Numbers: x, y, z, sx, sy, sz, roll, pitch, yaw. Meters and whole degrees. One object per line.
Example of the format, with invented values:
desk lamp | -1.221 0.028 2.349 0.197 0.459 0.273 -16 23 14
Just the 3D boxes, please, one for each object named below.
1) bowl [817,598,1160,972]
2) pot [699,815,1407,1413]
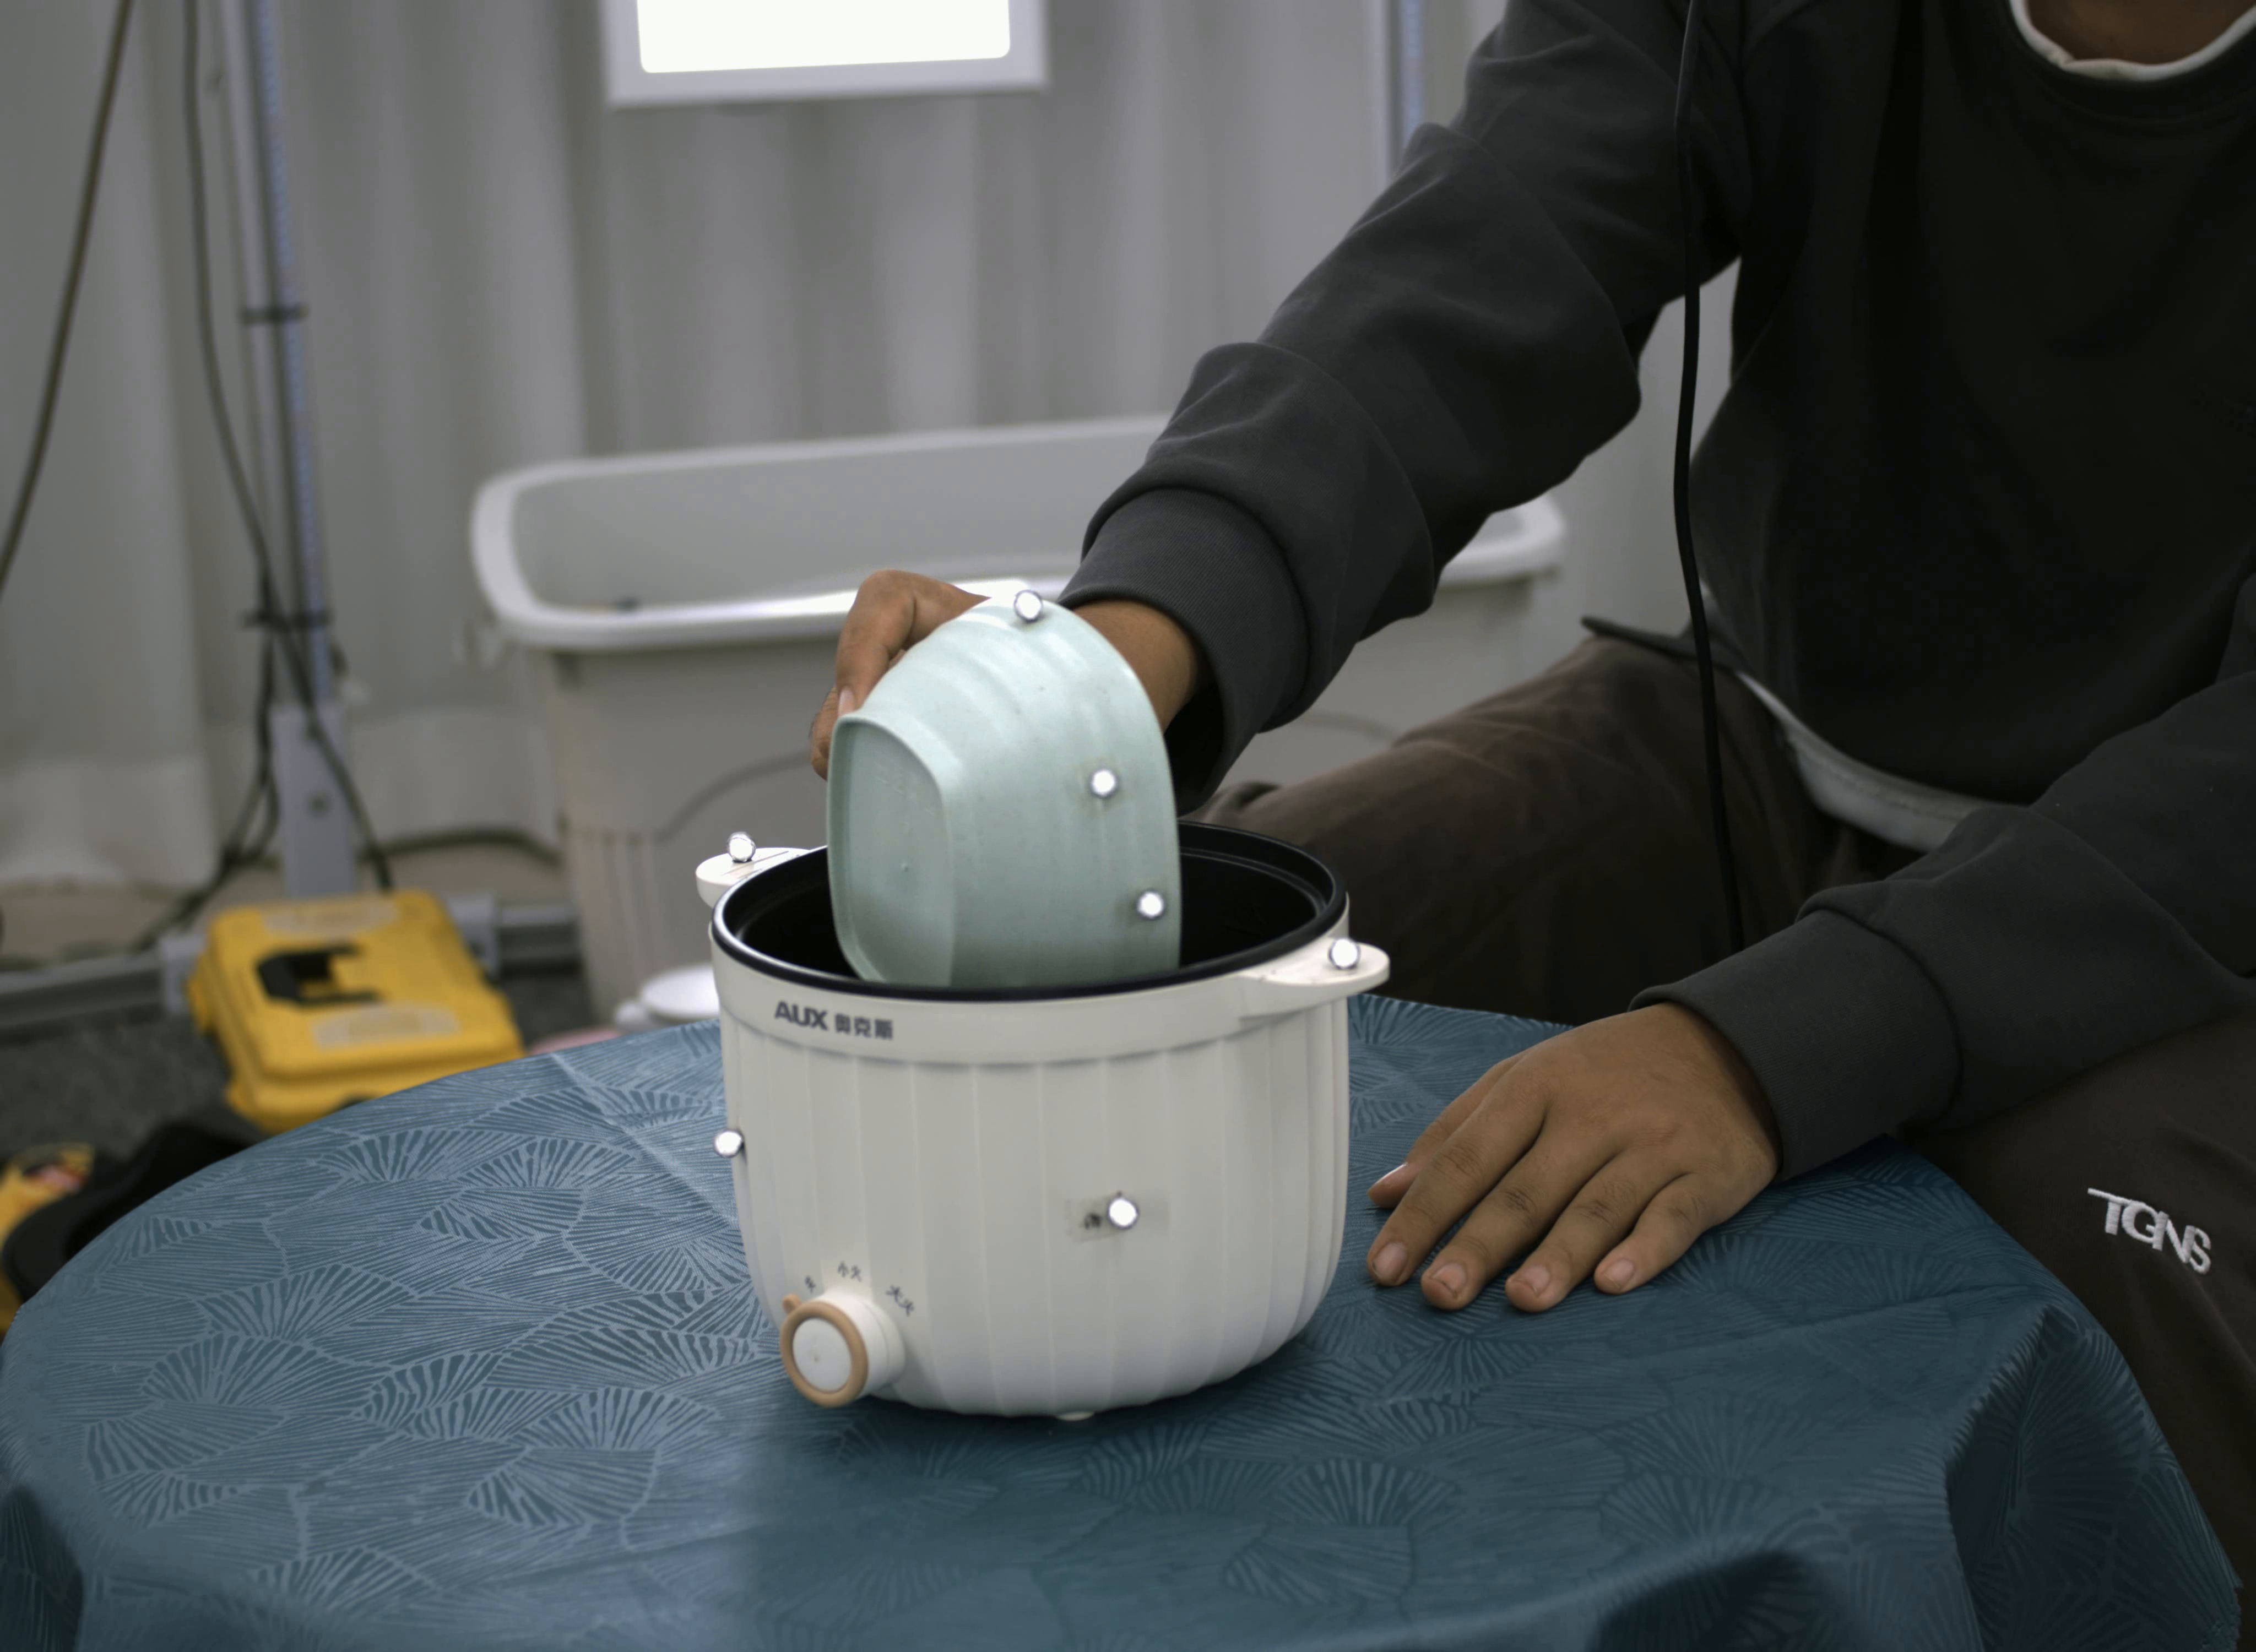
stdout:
bowl | -0.046 0.009 1.556 0.058 0.151 0.152 -8 15 -25
pot | -0.025 0.084 1.564 0.241 0.142 0.190 6 13 36
